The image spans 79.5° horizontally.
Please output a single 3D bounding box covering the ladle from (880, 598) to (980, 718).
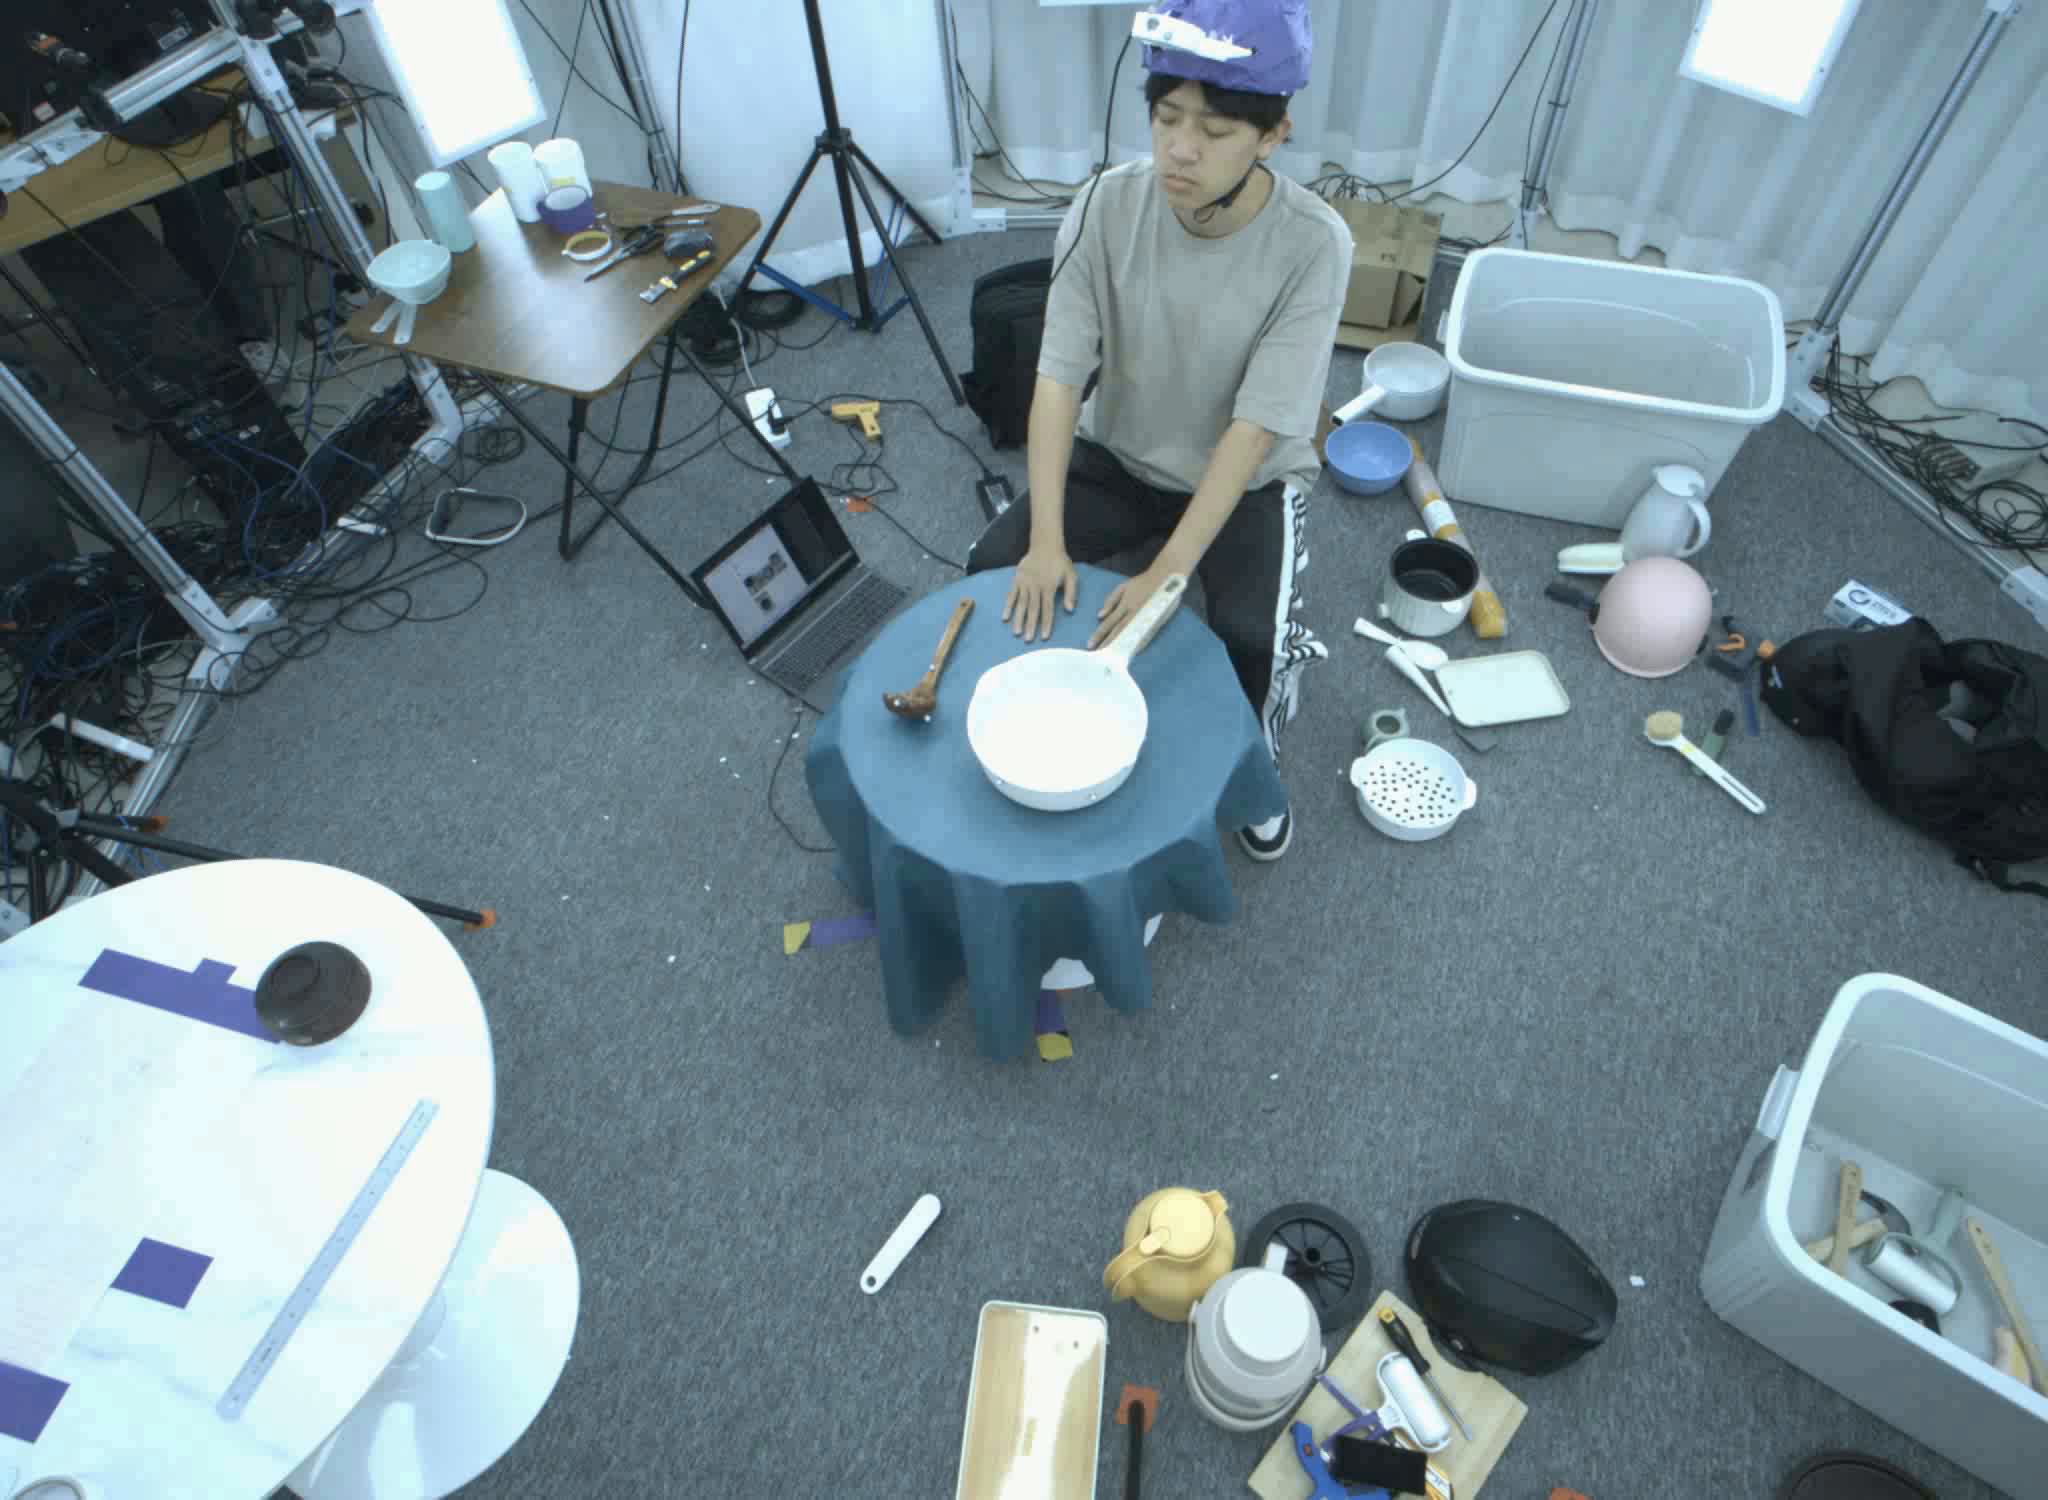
[{"bbox_3d":[-0.134,-0.153,1.850,0.081,0.077,0.273,15,57,15],"label":"ladle"}]

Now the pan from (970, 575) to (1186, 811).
[{"bbox_3d":[0.108,-0.087,1.781,0.259,0.103,0.437,30,61,23],"label":"pan"}]
